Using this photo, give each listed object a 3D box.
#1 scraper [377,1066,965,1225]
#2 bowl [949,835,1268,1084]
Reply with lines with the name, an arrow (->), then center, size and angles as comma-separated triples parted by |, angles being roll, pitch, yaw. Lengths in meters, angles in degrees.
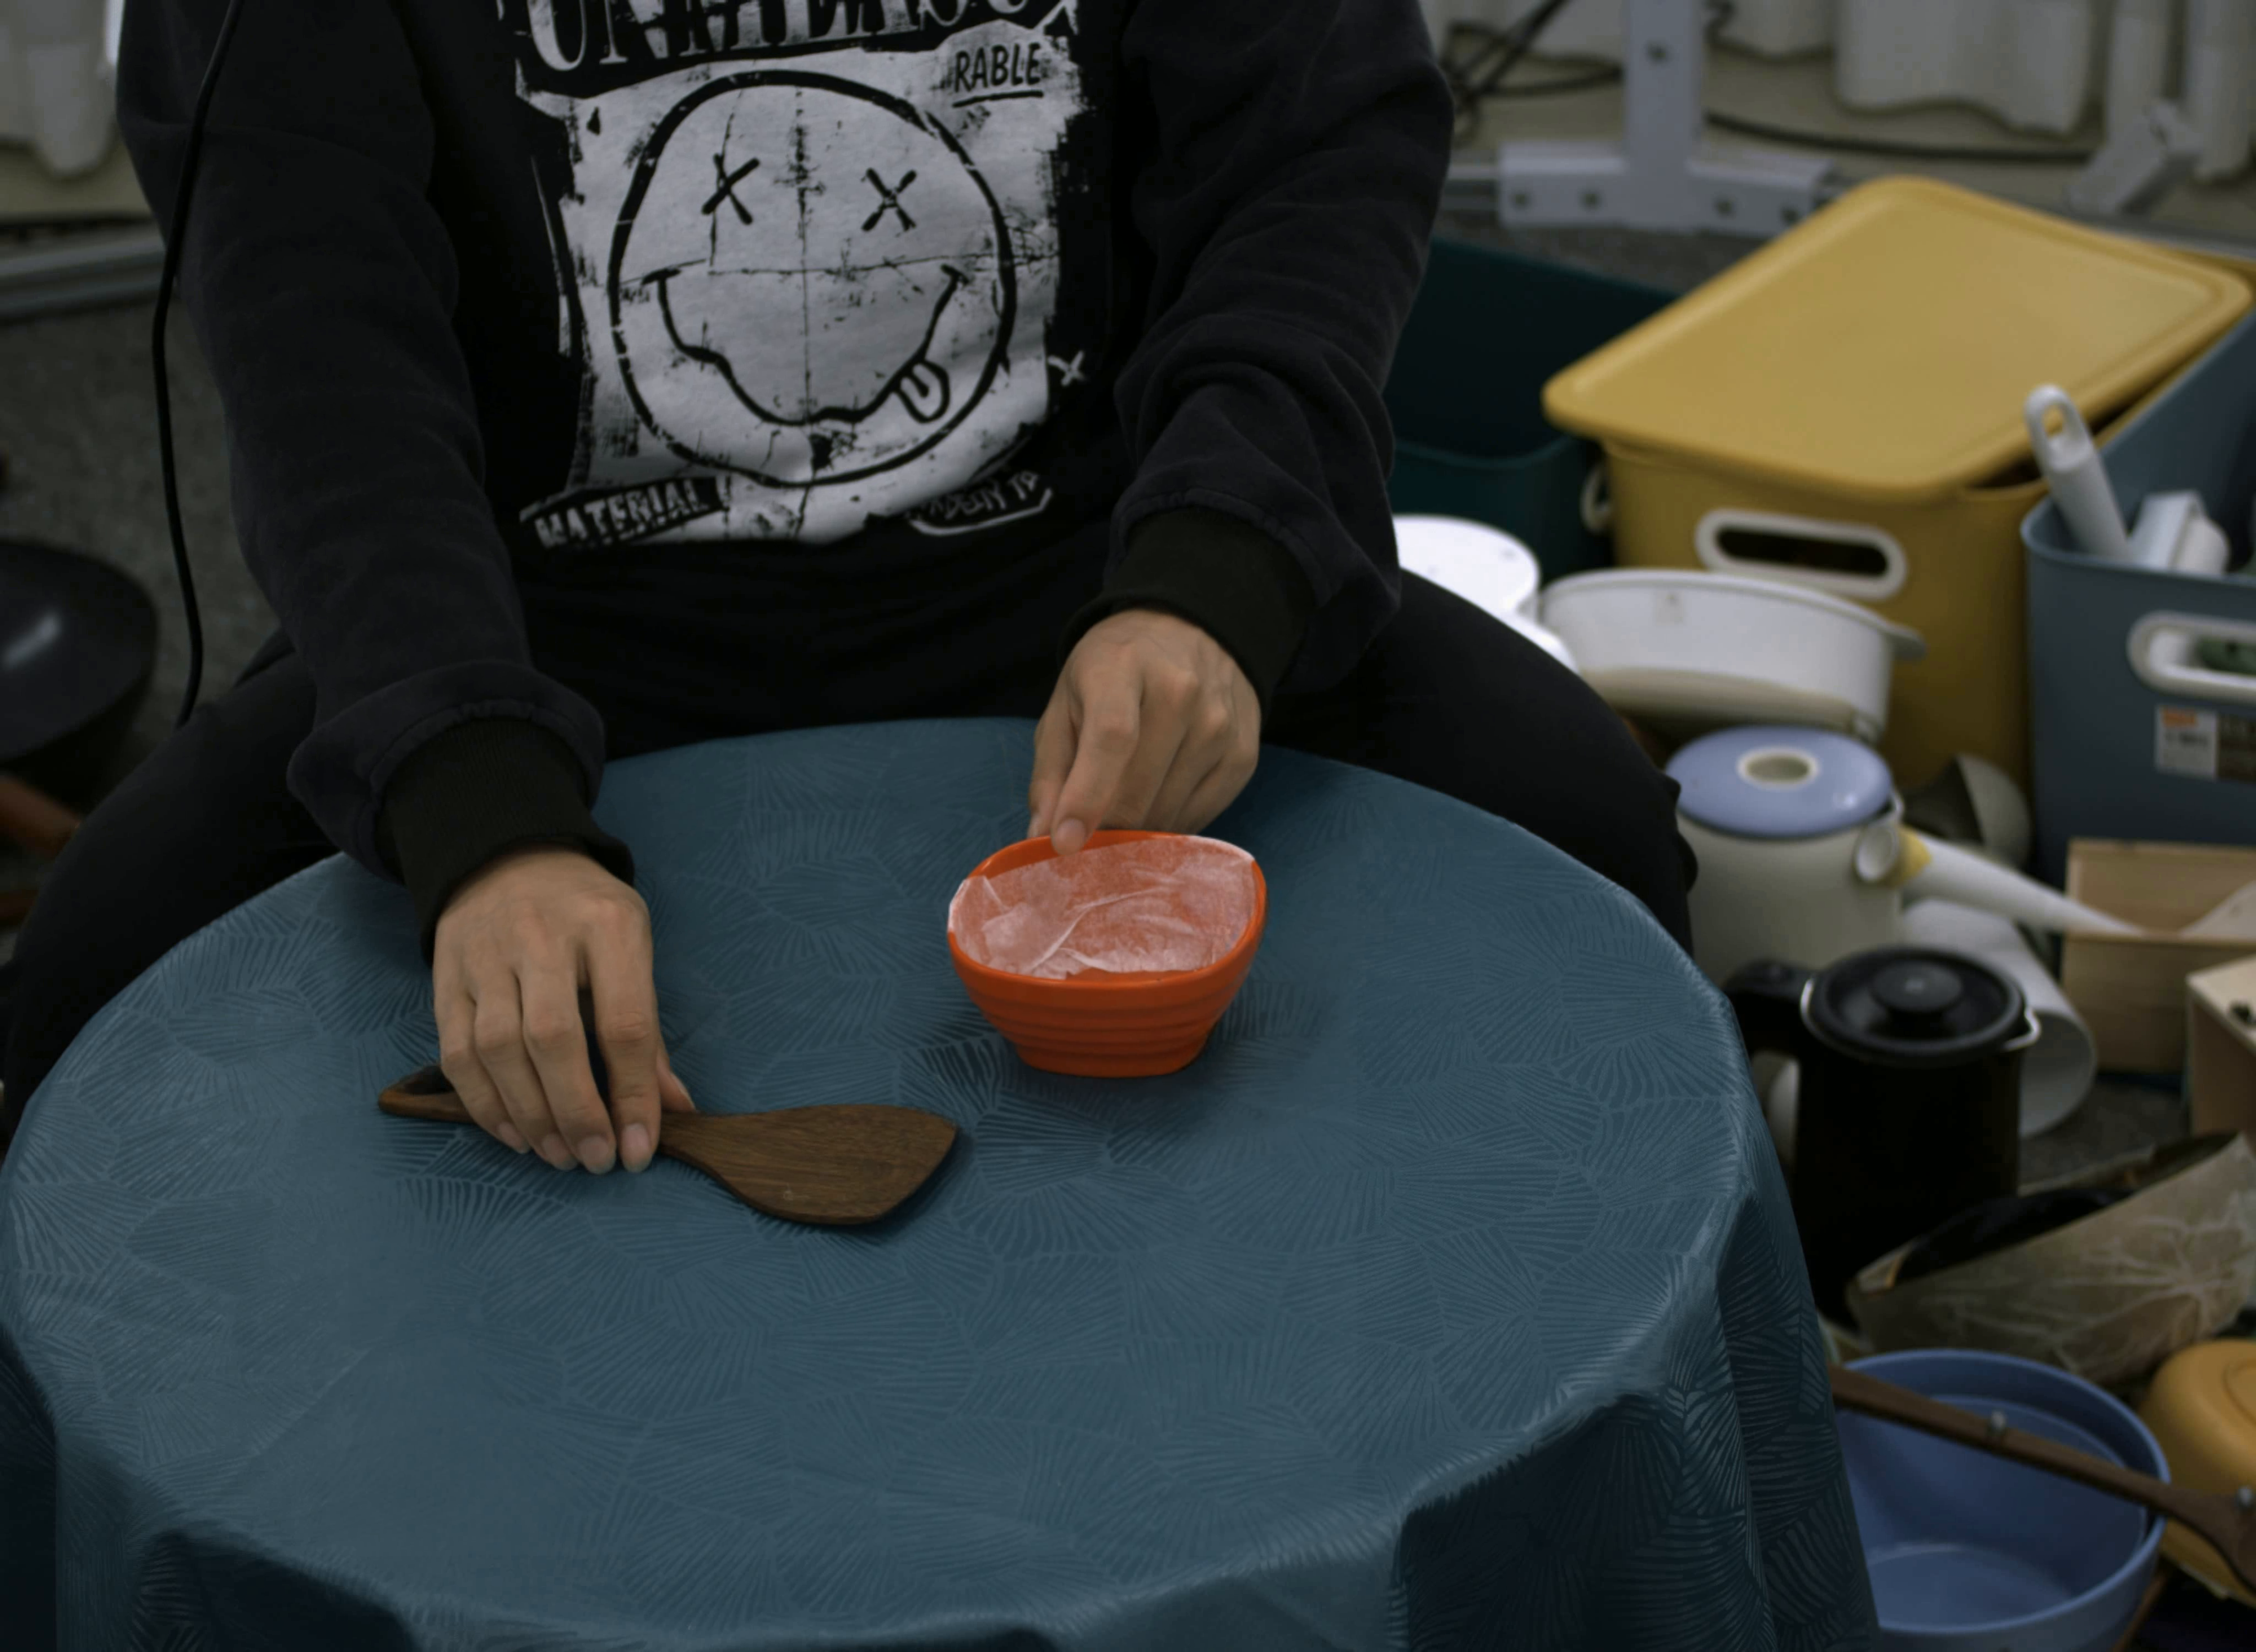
scraper -> -0.159, 0.104, 1.903 | 0.210, 0.011, 0.077 | 8, 28, 22
bowl -> -0.005, 0.051, 1.948 | 0.118, 0.051, 0.121 | -3, 28, 2
